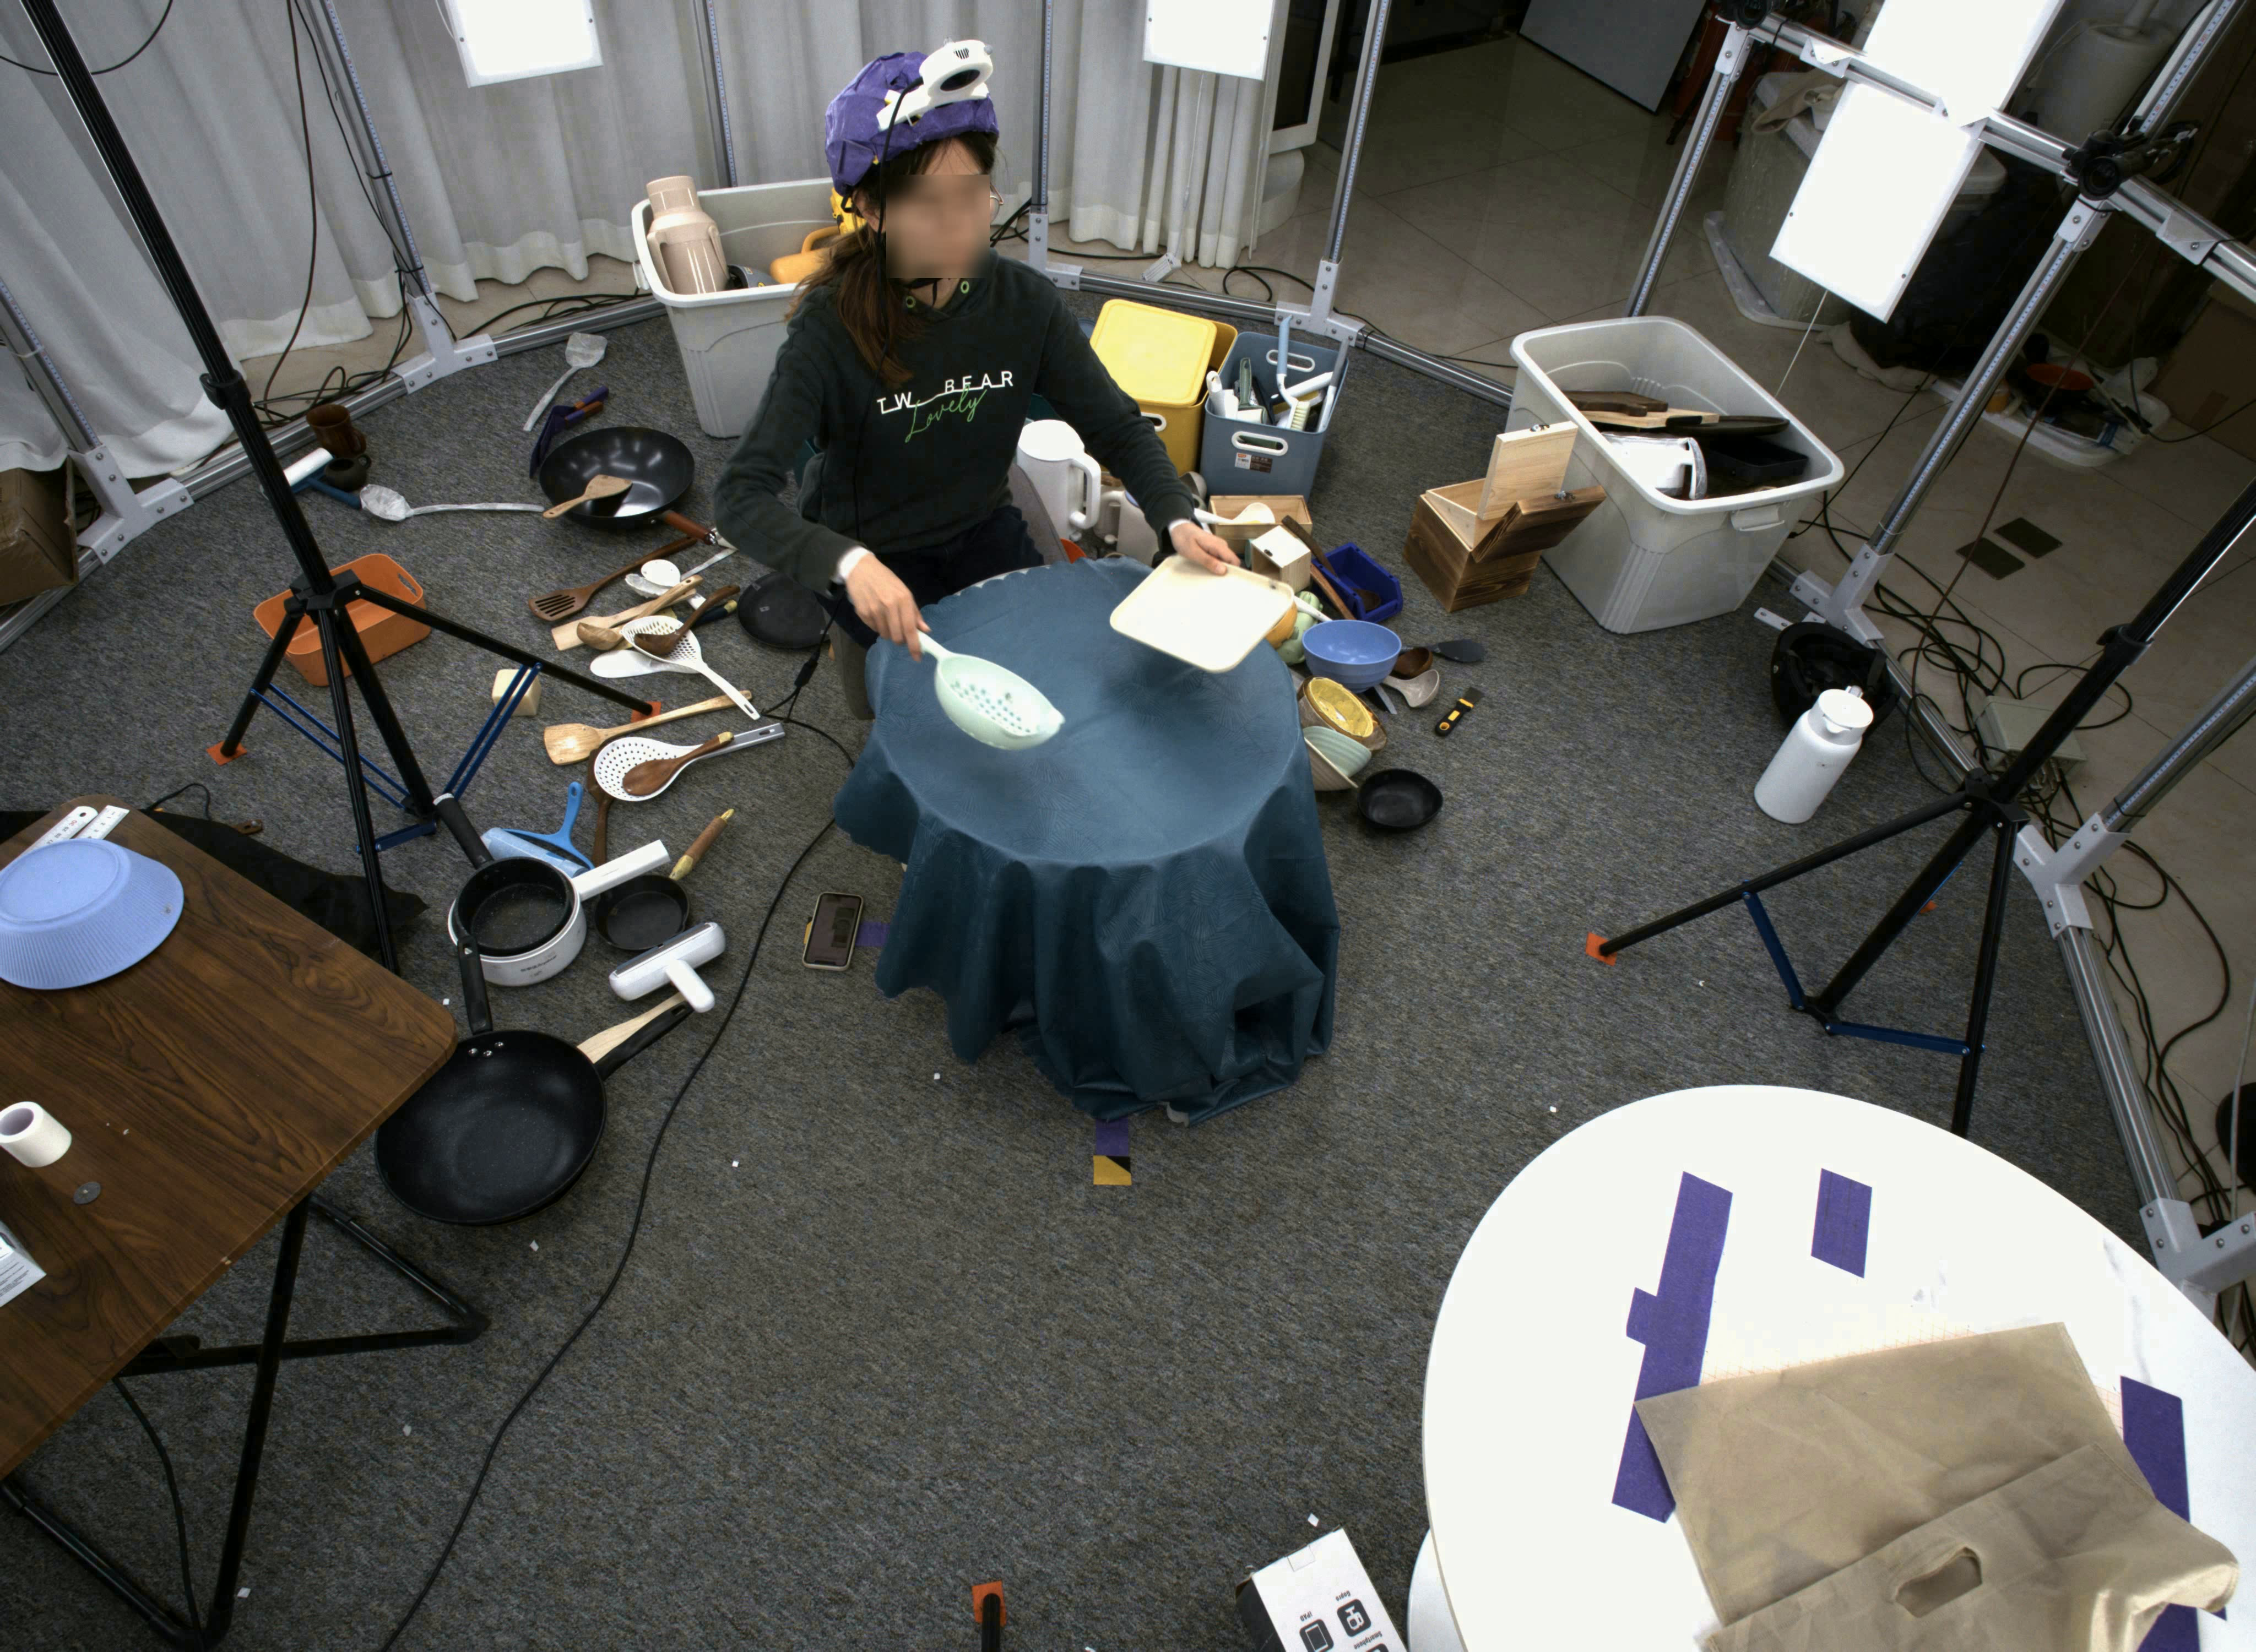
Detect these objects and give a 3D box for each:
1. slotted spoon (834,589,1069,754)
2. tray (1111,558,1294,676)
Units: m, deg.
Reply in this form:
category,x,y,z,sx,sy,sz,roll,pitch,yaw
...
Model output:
category,x,y,z,sx,sy,sz,roll,pitch,yaw
slotted spoon,-0.237,-0.209,1.644,0.362,0.074,0.170,45,26,12
tray,0.102,-0.291,1.776,0.173,0.017,0.243,-46,47,-17
